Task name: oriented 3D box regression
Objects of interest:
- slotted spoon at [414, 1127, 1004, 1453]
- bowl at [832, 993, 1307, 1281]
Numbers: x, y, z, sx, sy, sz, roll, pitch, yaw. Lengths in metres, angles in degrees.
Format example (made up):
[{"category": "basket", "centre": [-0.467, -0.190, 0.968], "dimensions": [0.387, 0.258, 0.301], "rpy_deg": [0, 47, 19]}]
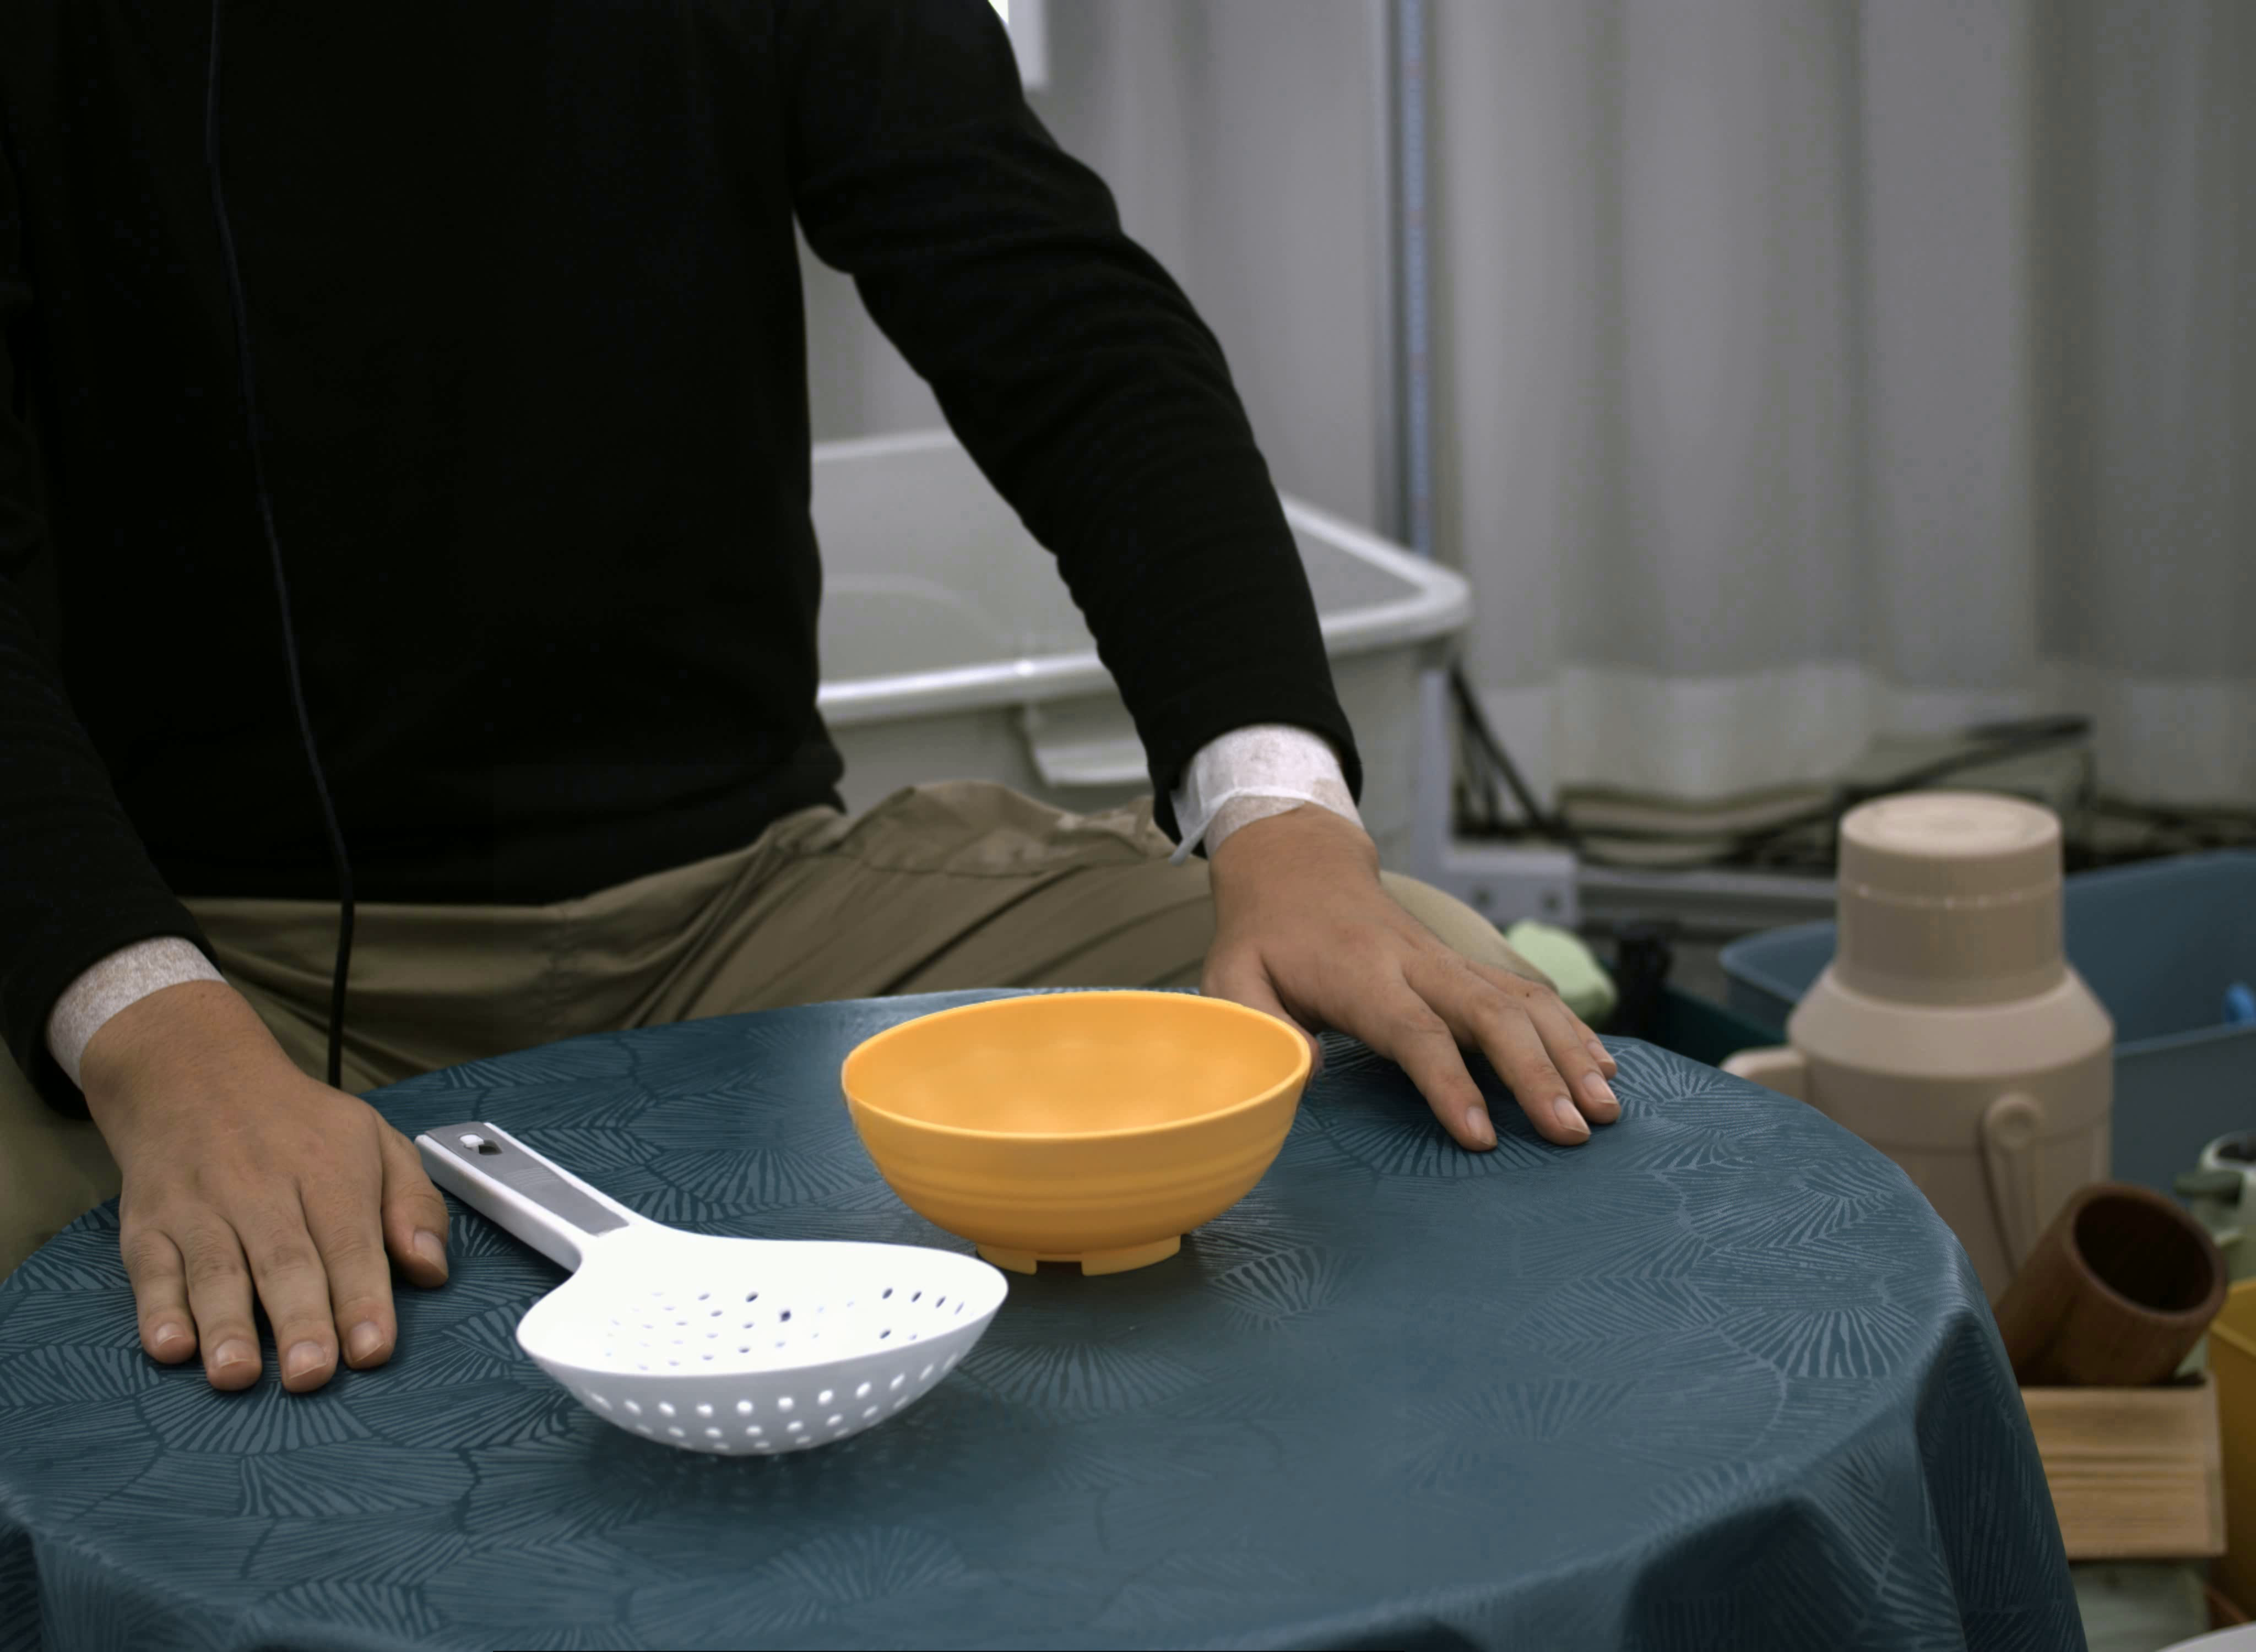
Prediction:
[{"category": "slotted spoon", "centre": [-0.147, 0.127, 1.609], "dimensions": [0.135, 0.045, 0.352], "rpy_deg": [-9, 15, -24]}, {"category": "bowl", "centre": [-0.017, 0.100, 1.664], "dimensions": [0.145, 0.060, 0.146], "rpy_deg": [-1, 15, 0]}]
